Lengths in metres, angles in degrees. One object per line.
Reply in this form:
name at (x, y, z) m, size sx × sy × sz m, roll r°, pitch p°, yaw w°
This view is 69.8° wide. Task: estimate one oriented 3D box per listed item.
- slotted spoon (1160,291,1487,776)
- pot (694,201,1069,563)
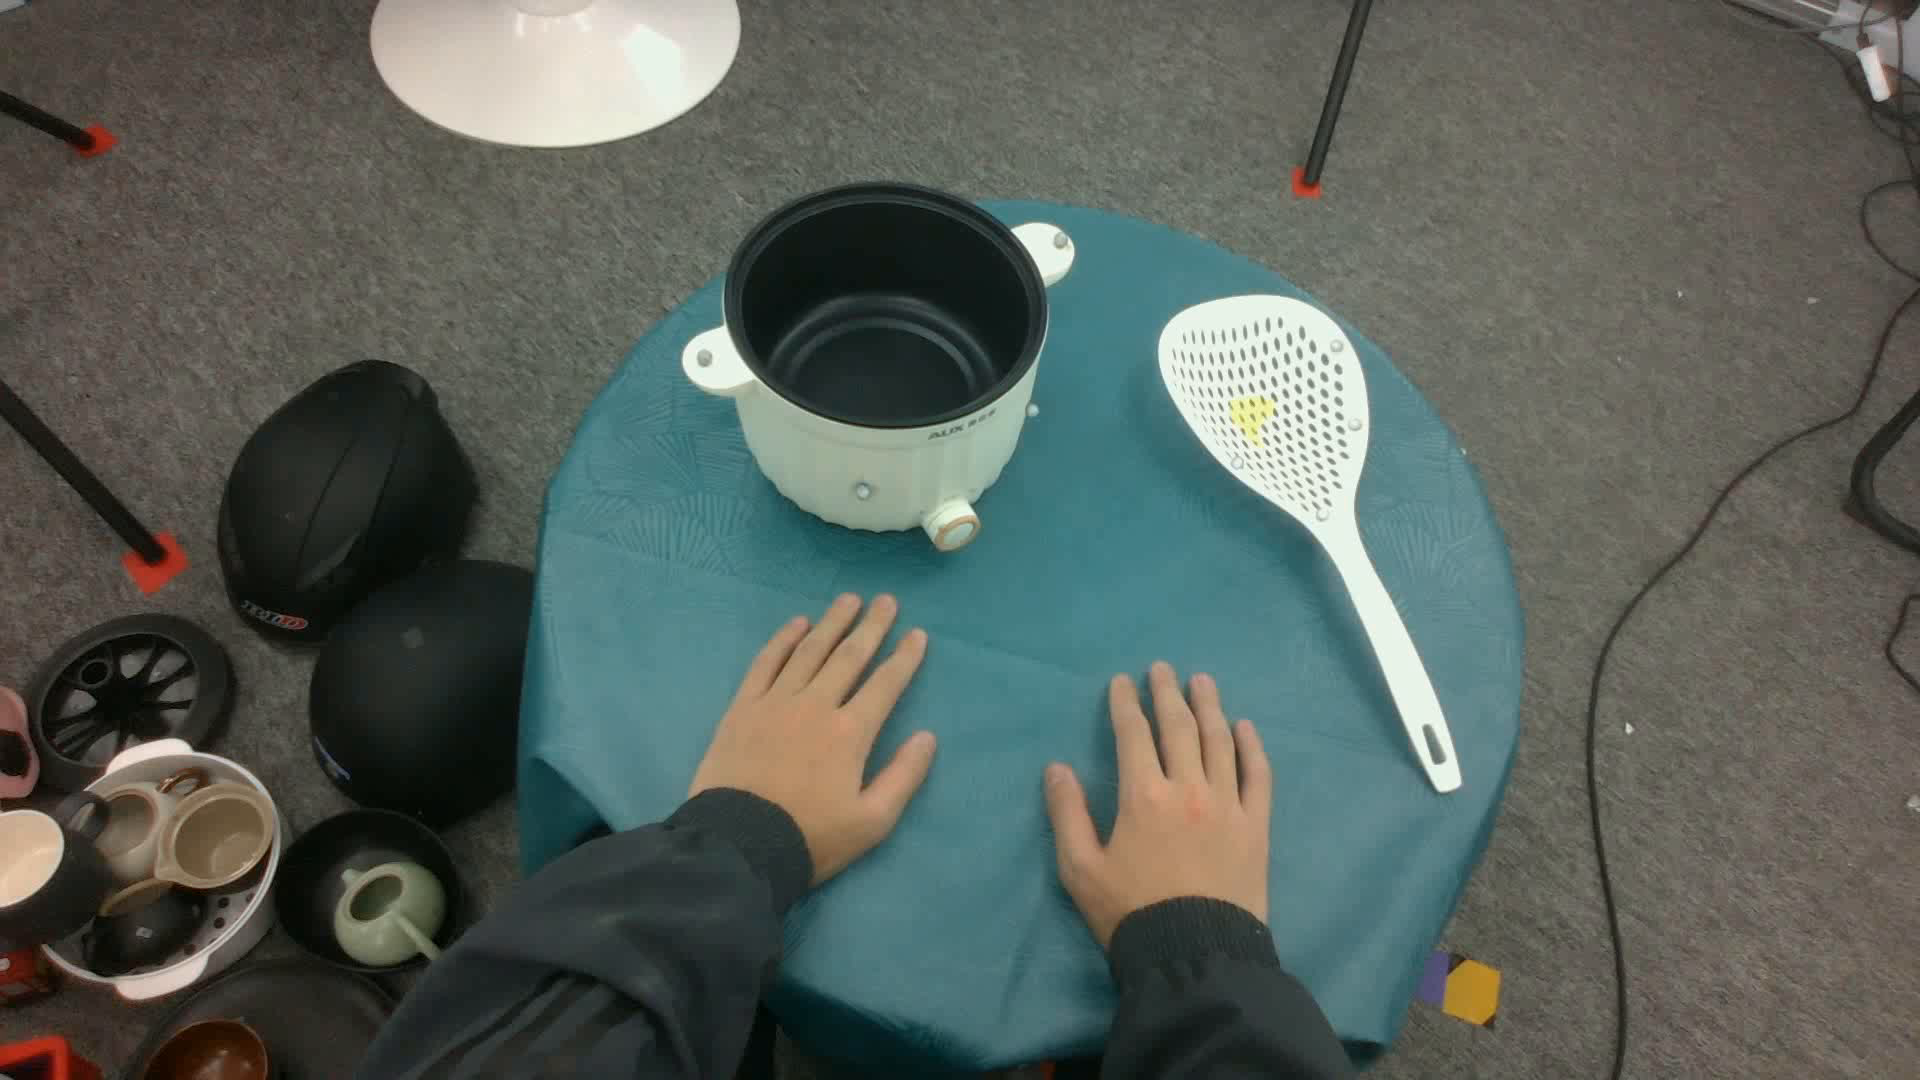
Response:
slotted spoon at (0.234, -0.014, 0.858) m, size 0.137 × 0.050 × 0.349 m, roll -14°, pitch 58°, yaw -14°
pot at (-0.038, -0.087, 0.835) m, size 0.241 × 0.142 × 0.191 m, roll -26°, pitch 59°, yaw -17°
